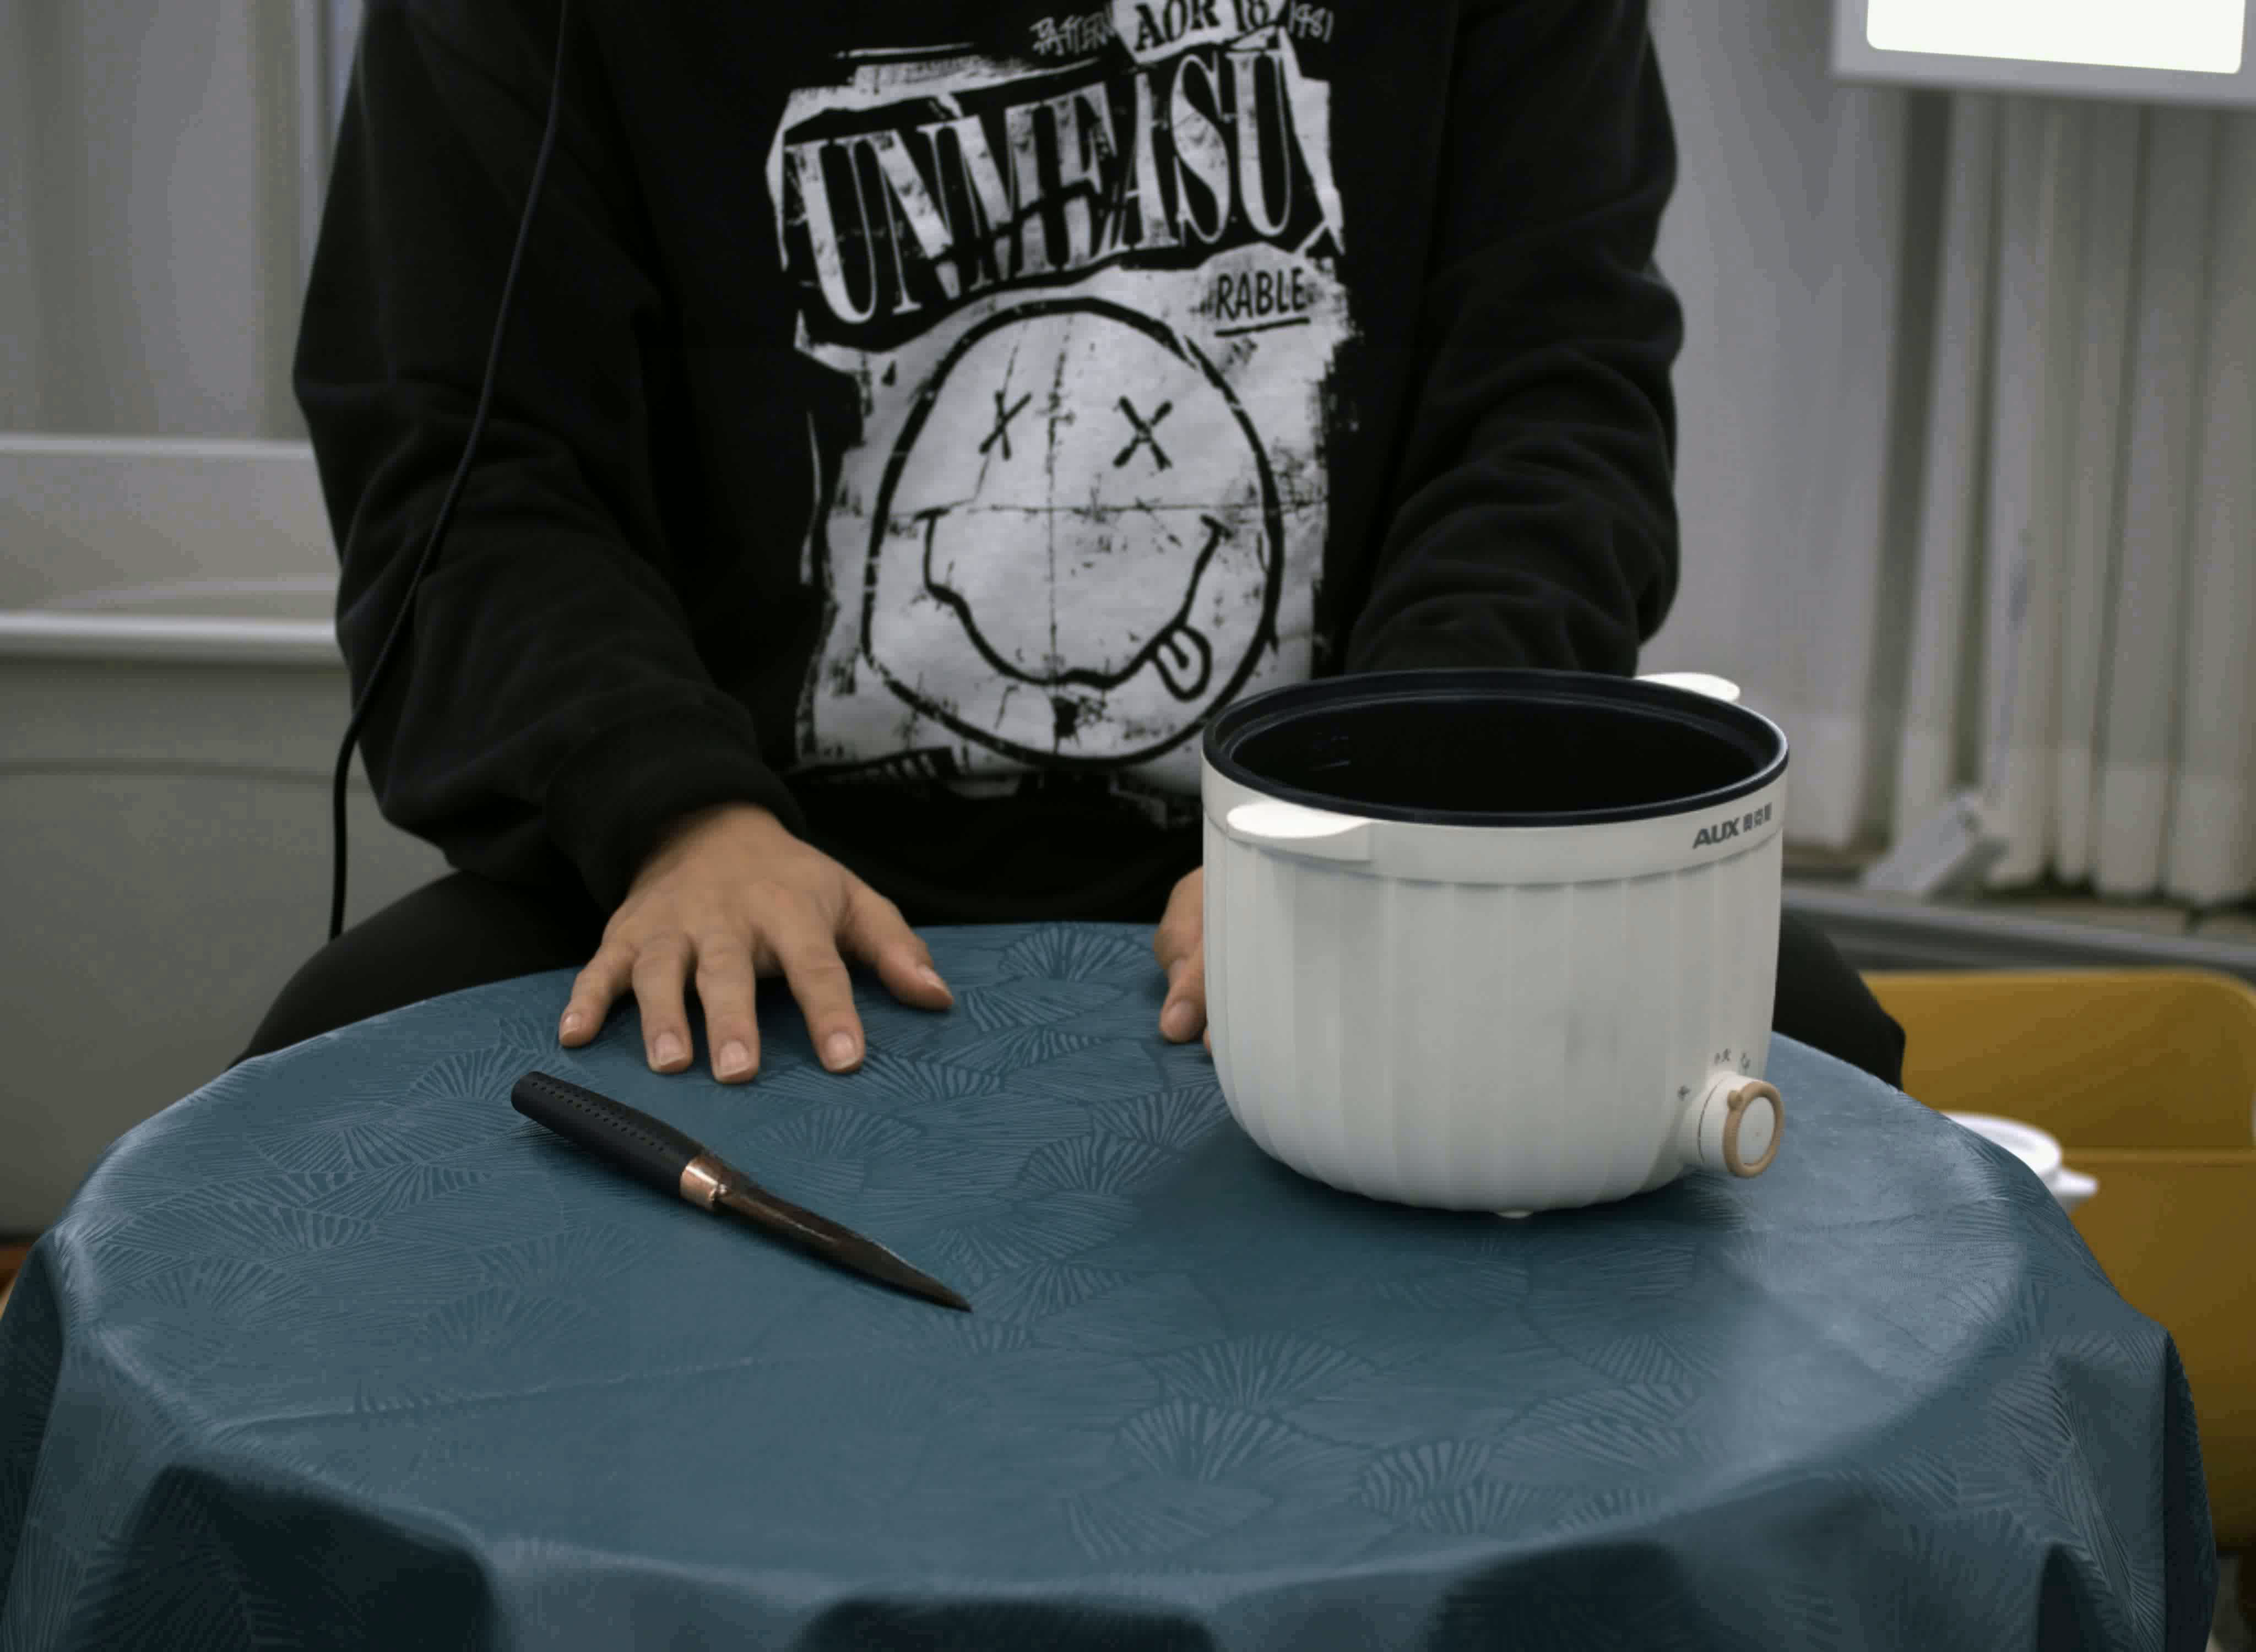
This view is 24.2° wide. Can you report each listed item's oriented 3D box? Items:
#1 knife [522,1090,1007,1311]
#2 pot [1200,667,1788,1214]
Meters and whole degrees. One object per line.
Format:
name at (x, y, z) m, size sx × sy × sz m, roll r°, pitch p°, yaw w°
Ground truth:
knife at (-0.114, 0.114, 1.598) m, size 0.026 × 0.017 × 0.222 m, roll 7°, pitch 8°, yaw -44°
pot at (0.118, 0.037, 1.638) m, size 0.188 × 0.144 × 0.241 m, roll 9°, pitch 19°, yaw 38°
